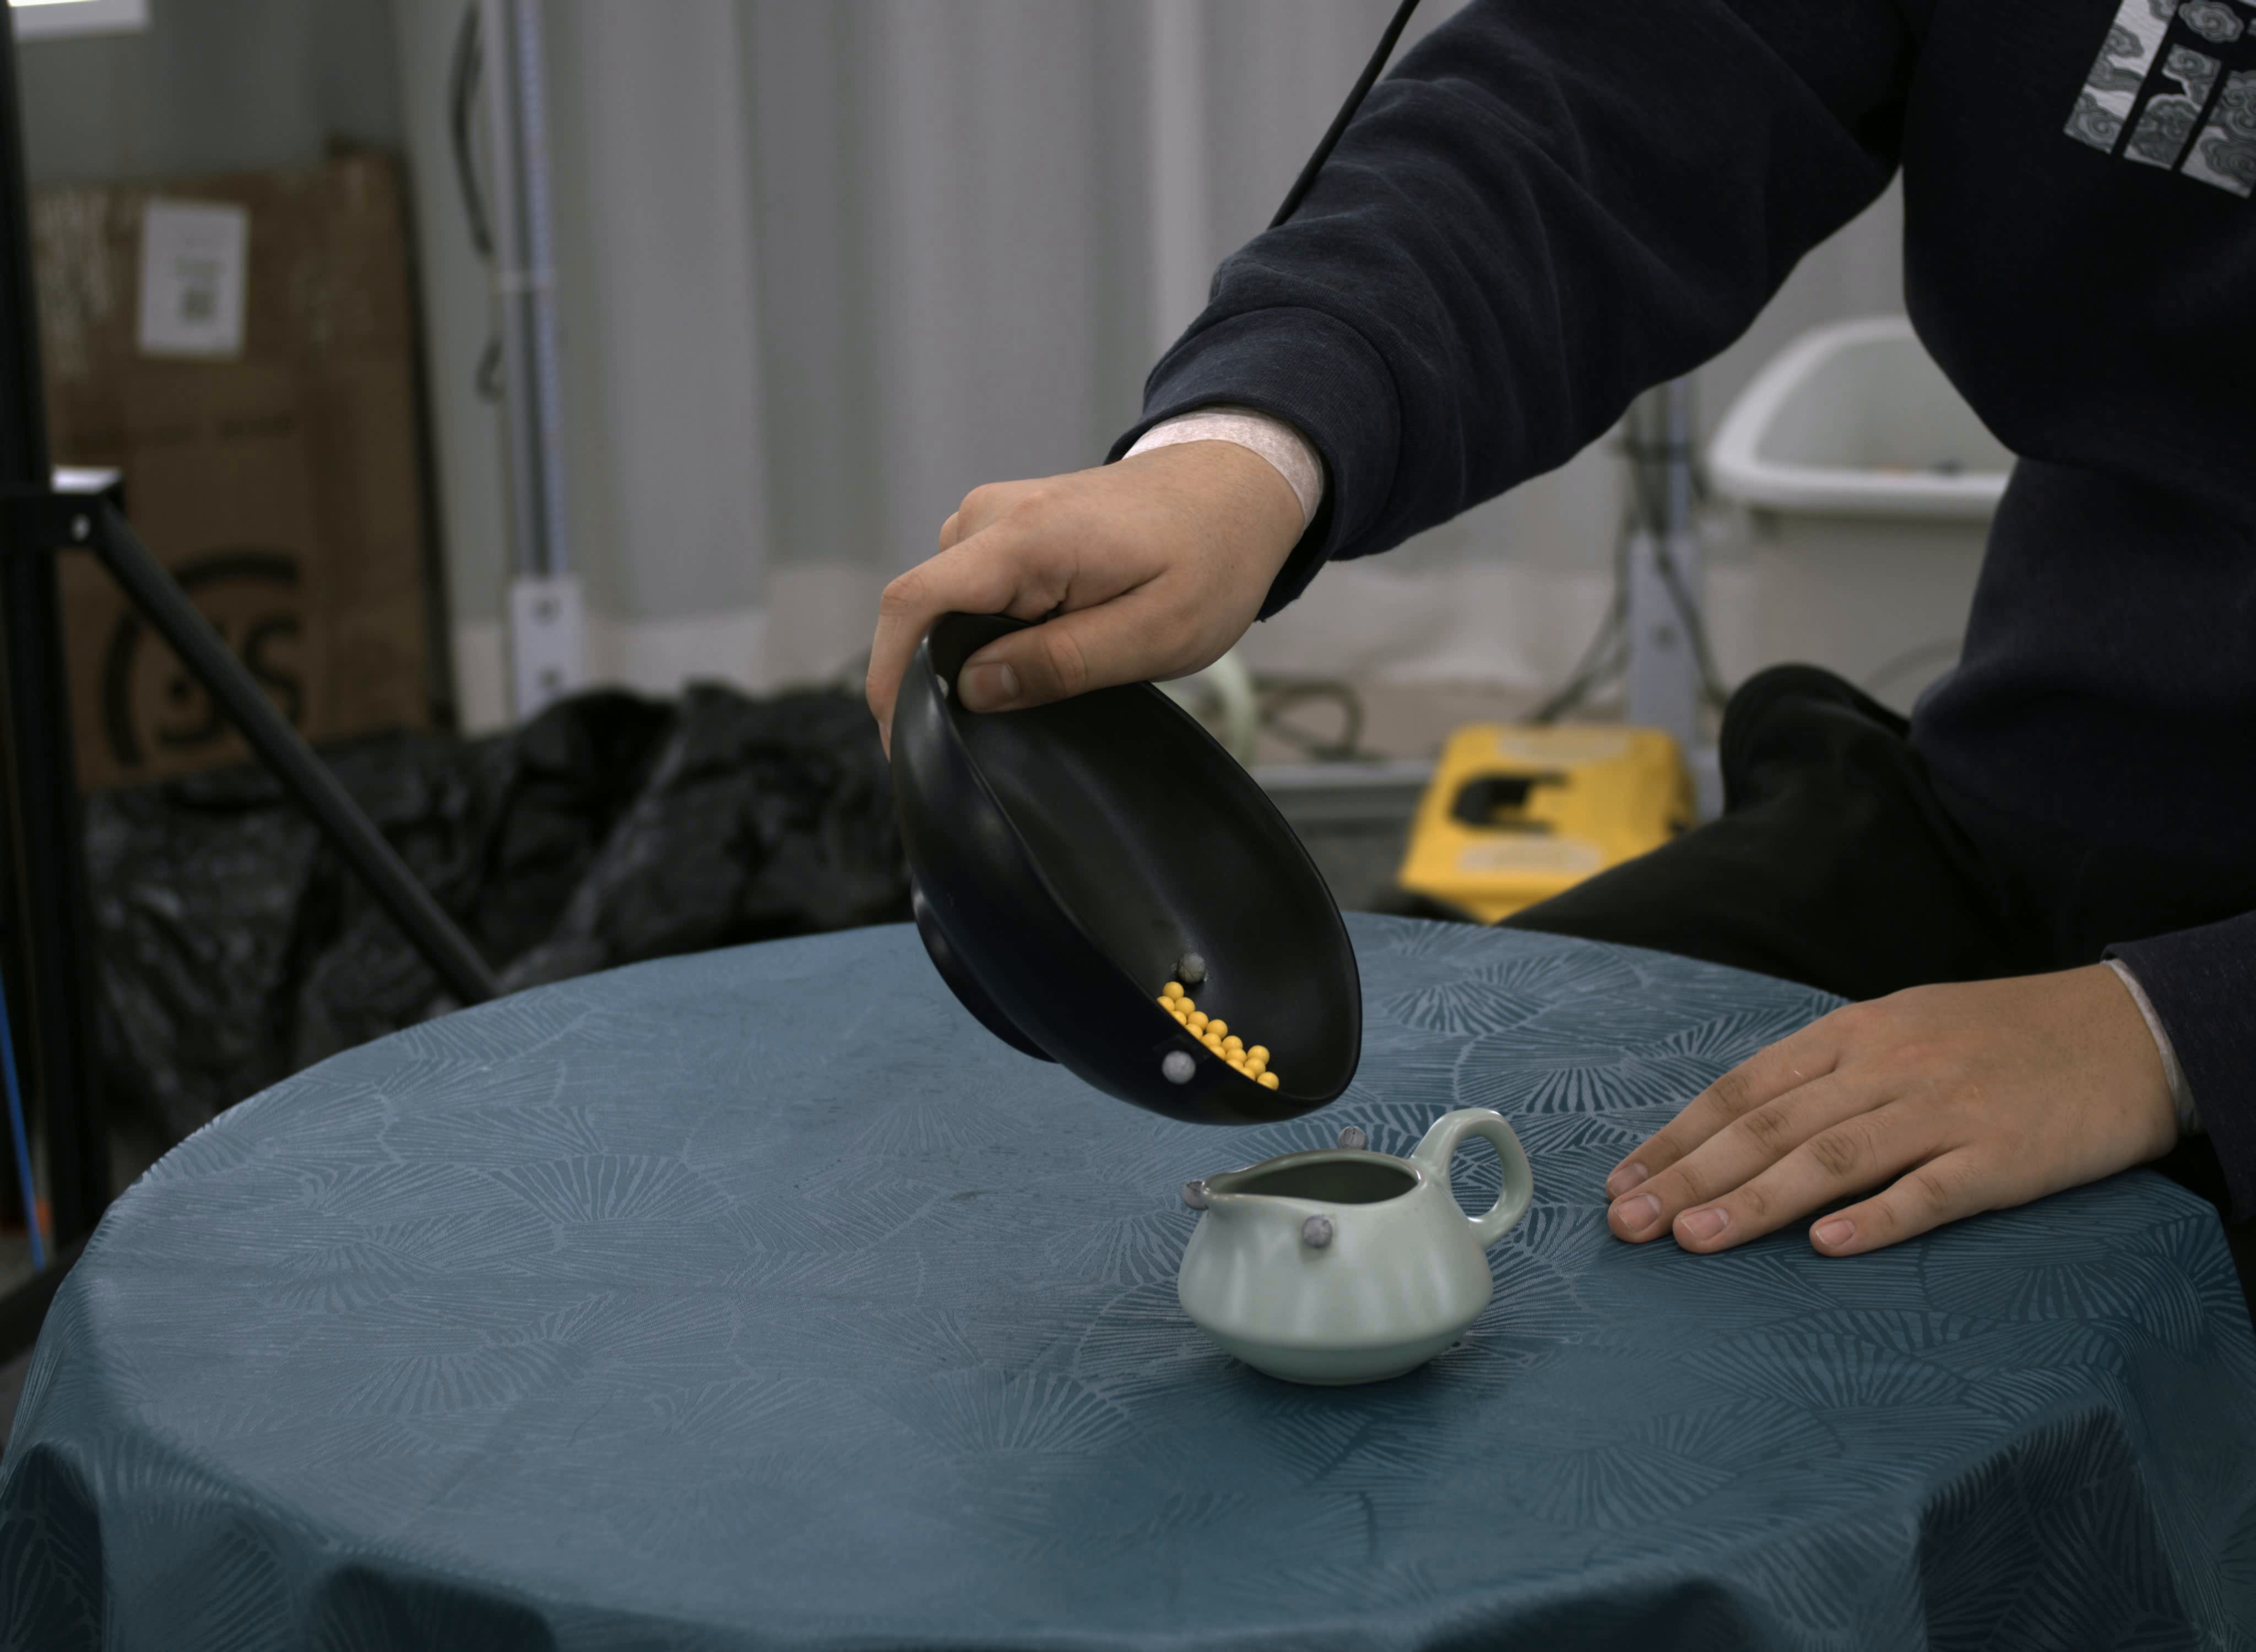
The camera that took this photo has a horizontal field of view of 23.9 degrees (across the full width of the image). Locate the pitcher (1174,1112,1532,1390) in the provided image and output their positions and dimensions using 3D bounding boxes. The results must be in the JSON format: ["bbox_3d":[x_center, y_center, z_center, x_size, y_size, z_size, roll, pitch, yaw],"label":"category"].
[{"bbox_3d":[0.065,0.113,1.426,0.105,0.060,0.088,-11,18,-33],"label":"pitcher"}]

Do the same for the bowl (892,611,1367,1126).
[{"bbox_3d":[-0.012,0.020,1.433,0.067,0.172,0.135,-42,-11,27],"label":"bowl"}]
